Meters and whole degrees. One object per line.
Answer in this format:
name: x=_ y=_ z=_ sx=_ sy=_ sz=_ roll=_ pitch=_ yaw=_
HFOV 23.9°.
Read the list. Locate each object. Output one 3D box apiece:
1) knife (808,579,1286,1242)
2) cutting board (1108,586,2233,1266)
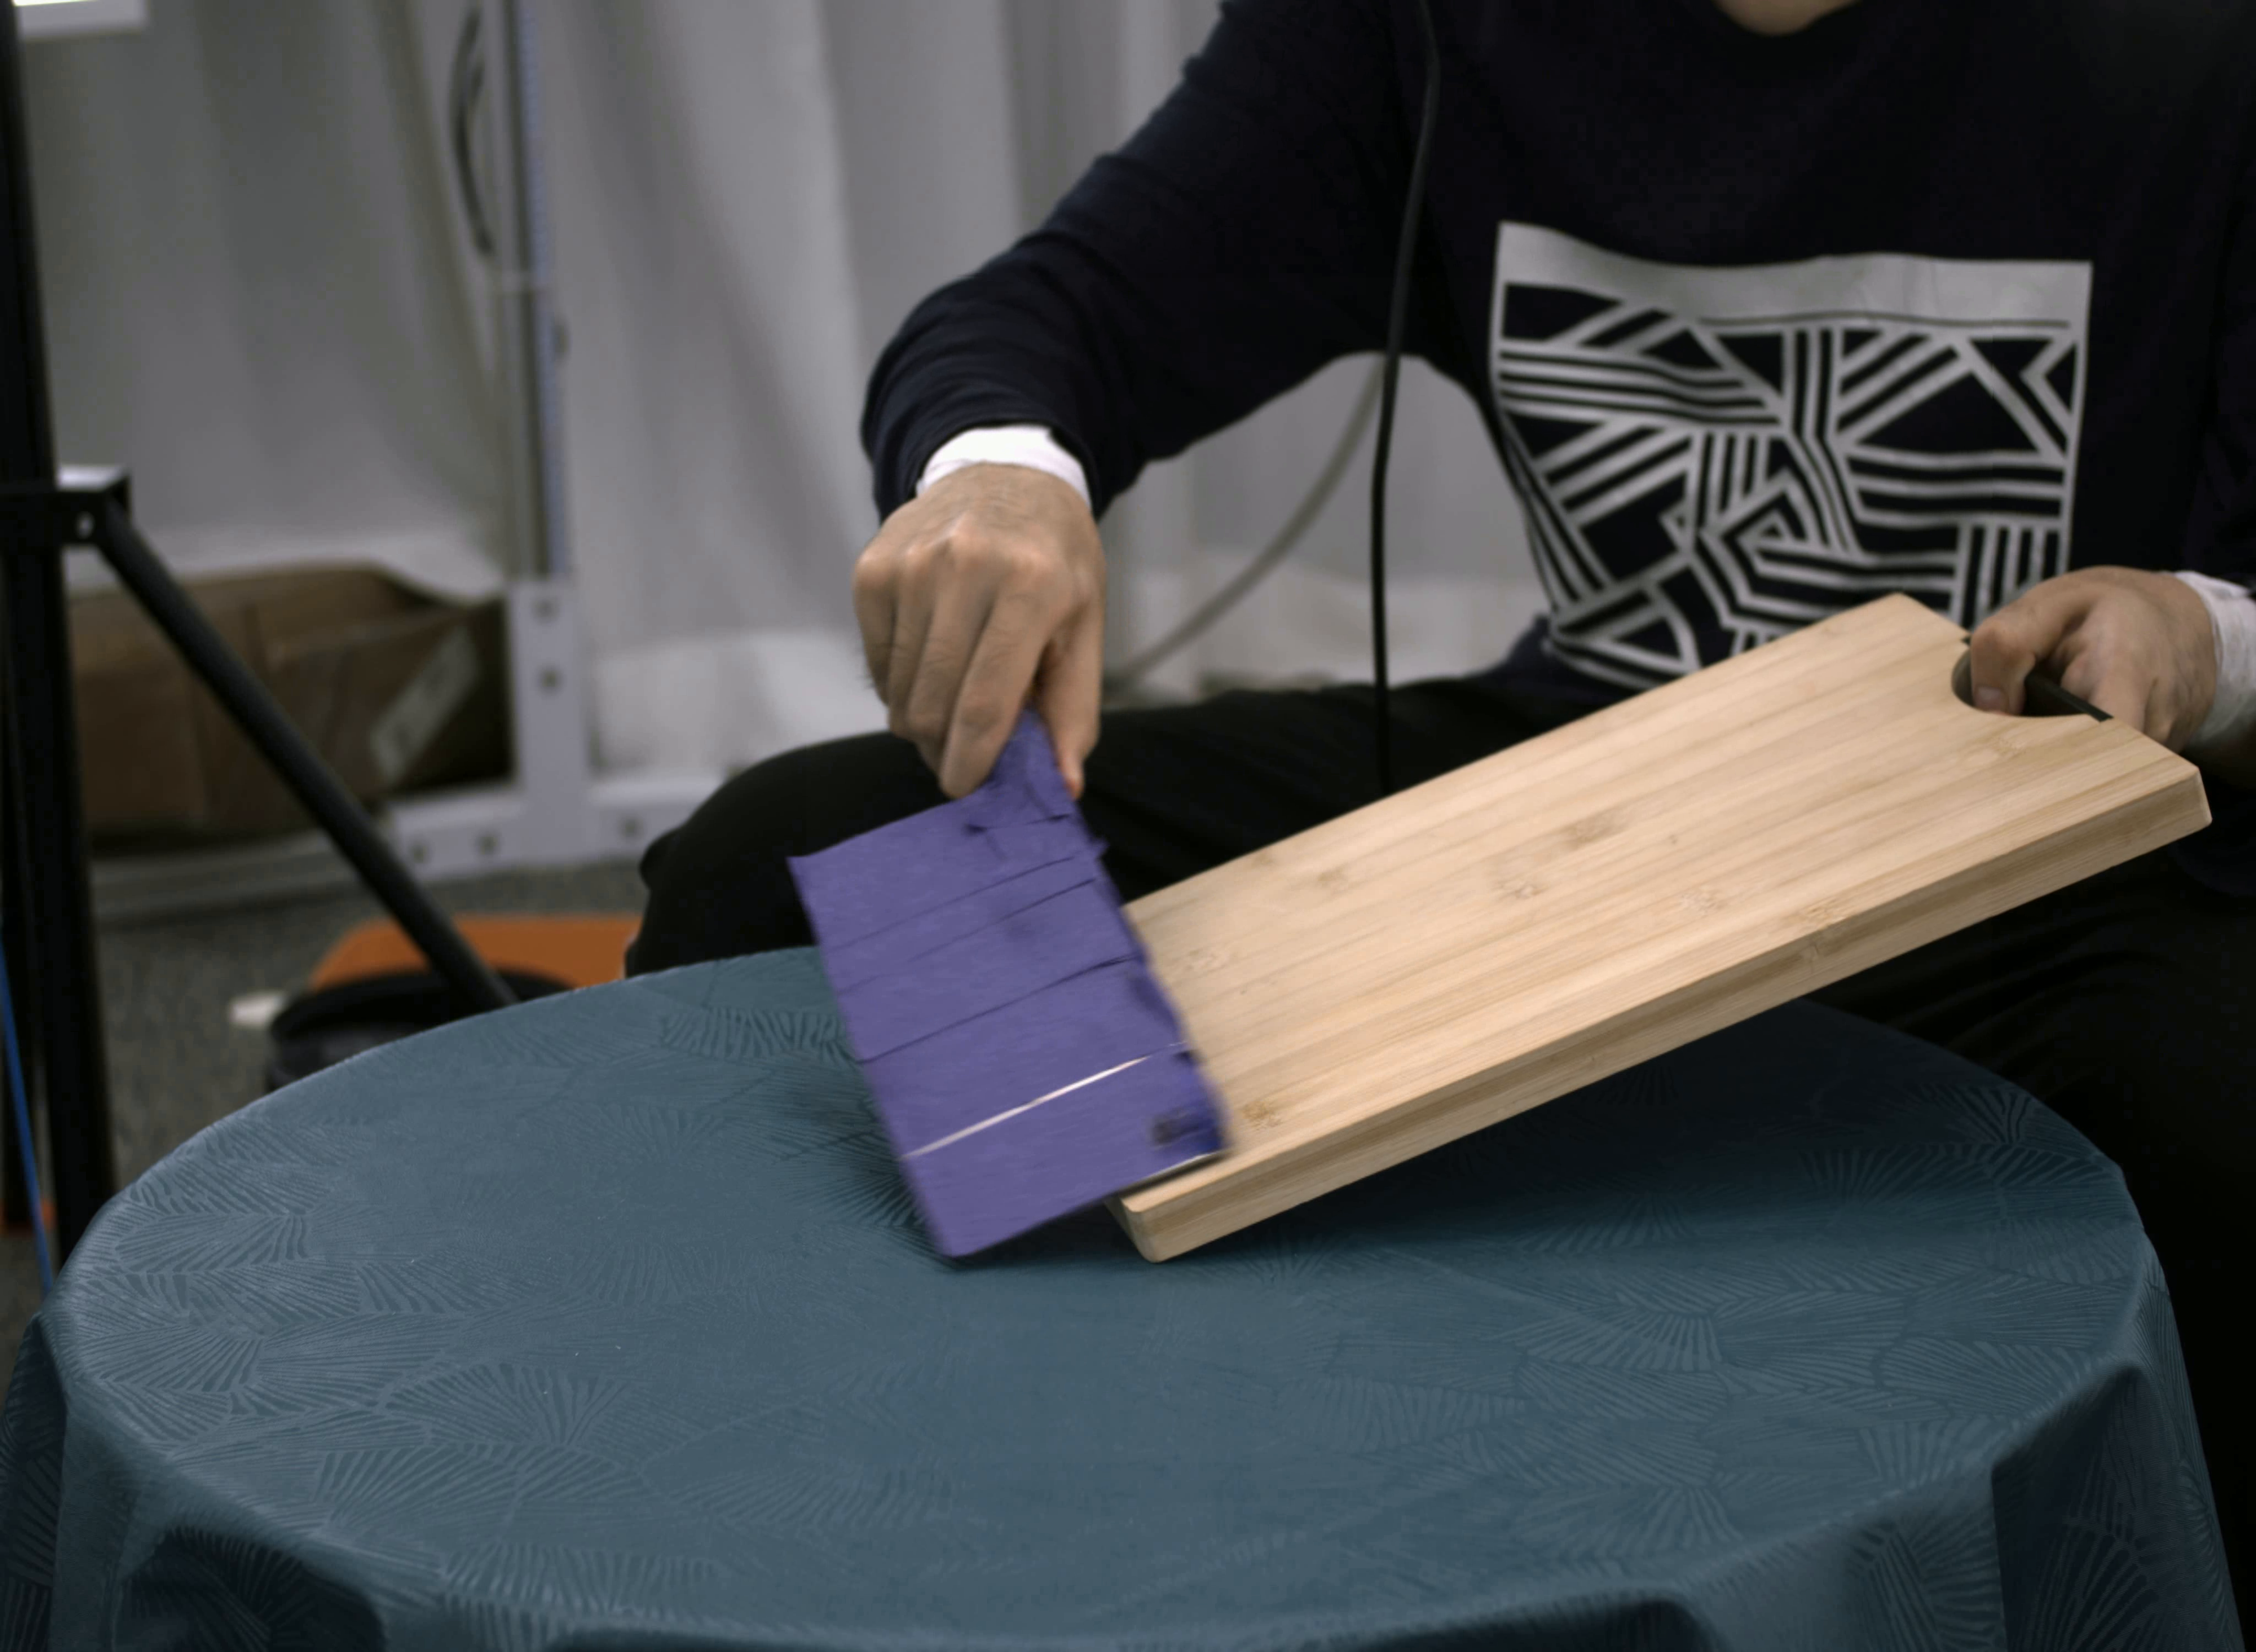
knife: x=-0.046 y=0.019 z=1.629 sx=0.103 sy=0.032 sz=0.321 roll=-22 pitch=34 yaw=-5
cutting board: x=0.135 y=0.023 z=1.629 sx=0.346 sy=0.023 sz=0.254 roll=-22 pitch=19 yaw=-7
